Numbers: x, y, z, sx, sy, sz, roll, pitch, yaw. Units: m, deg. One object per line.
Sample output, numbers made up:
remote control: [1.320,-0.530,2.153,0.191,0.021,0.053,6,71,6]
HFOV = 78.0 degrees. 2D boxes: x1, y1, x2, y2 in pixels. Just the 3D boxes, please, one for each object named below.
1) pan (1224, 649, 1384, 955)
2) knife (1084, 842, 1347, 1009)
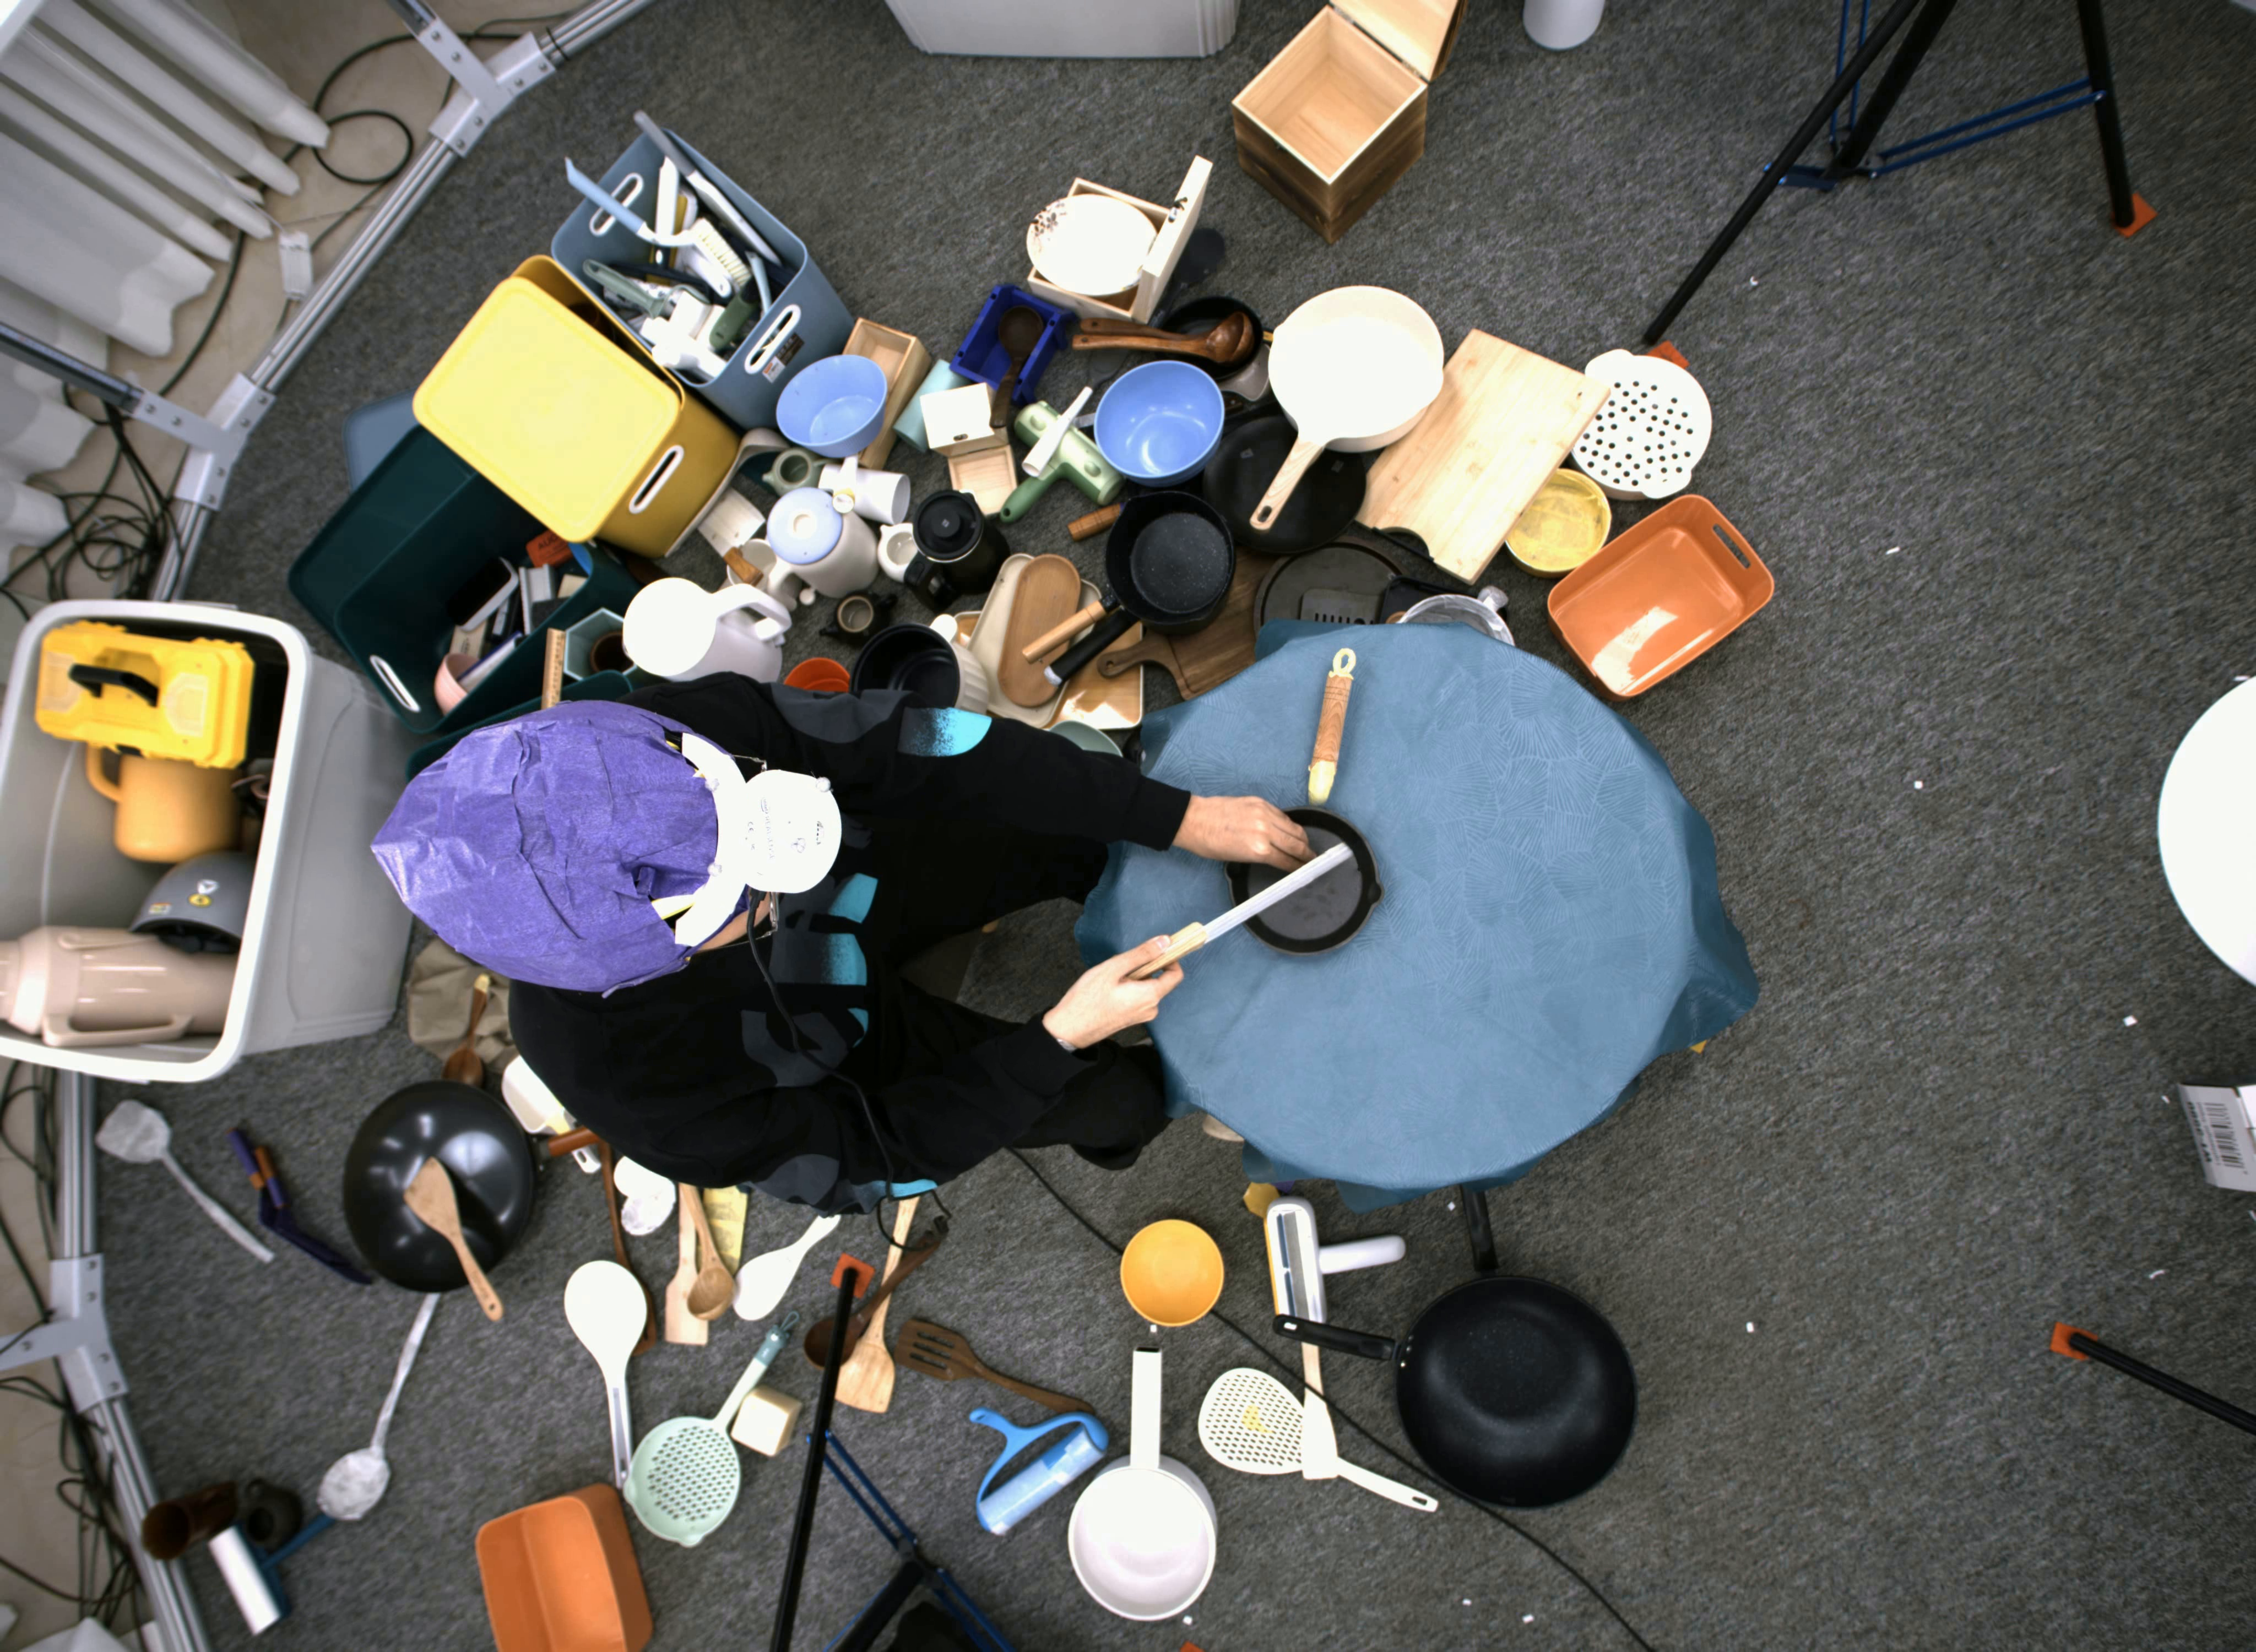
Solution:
pan: [0.200,-0.026,1.453,0.169,0.049,0.323,11,90,12]
knife: [0.094,0.097,1.394,0.313,0.116,0.021,-29,75,-11]
